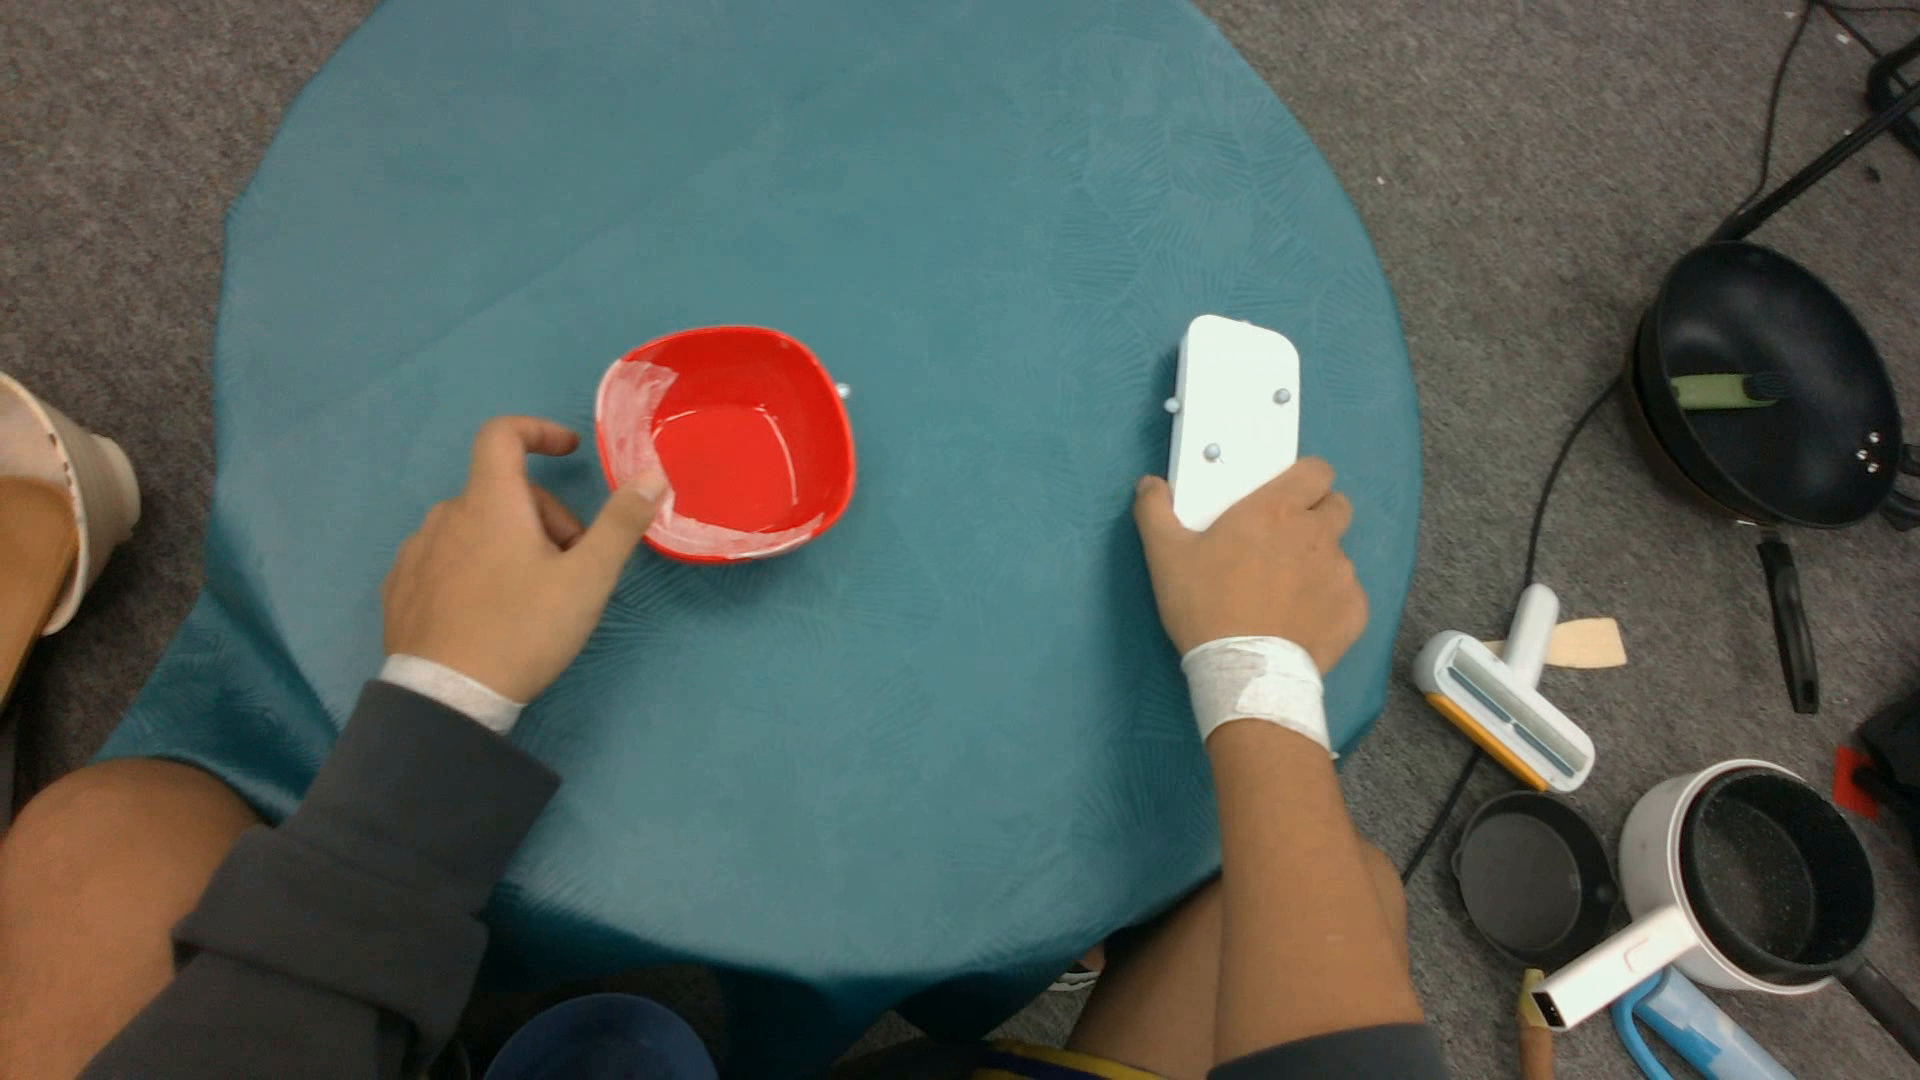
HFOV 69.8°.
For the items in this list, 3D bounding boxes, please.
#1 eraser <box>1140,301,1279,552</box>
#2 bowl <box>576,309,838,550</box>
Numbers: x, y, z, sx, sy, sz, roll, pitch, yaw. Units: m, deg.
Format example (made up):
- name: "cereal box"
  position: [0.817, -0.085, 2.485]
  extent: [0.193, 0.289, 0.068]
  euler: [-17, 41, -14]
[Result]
- name: "eraser"
  position: [0.126, -0.059, 0.700]
  extent: [0.063, 0.034, 0.132]
  euler: [14, 66, -10]
- name: "bowl"
  position: [-0.115, -0.044, 0.626]
  extent: [0.119, 0.051, 0.119]
  euler: [5, 71, -13]
